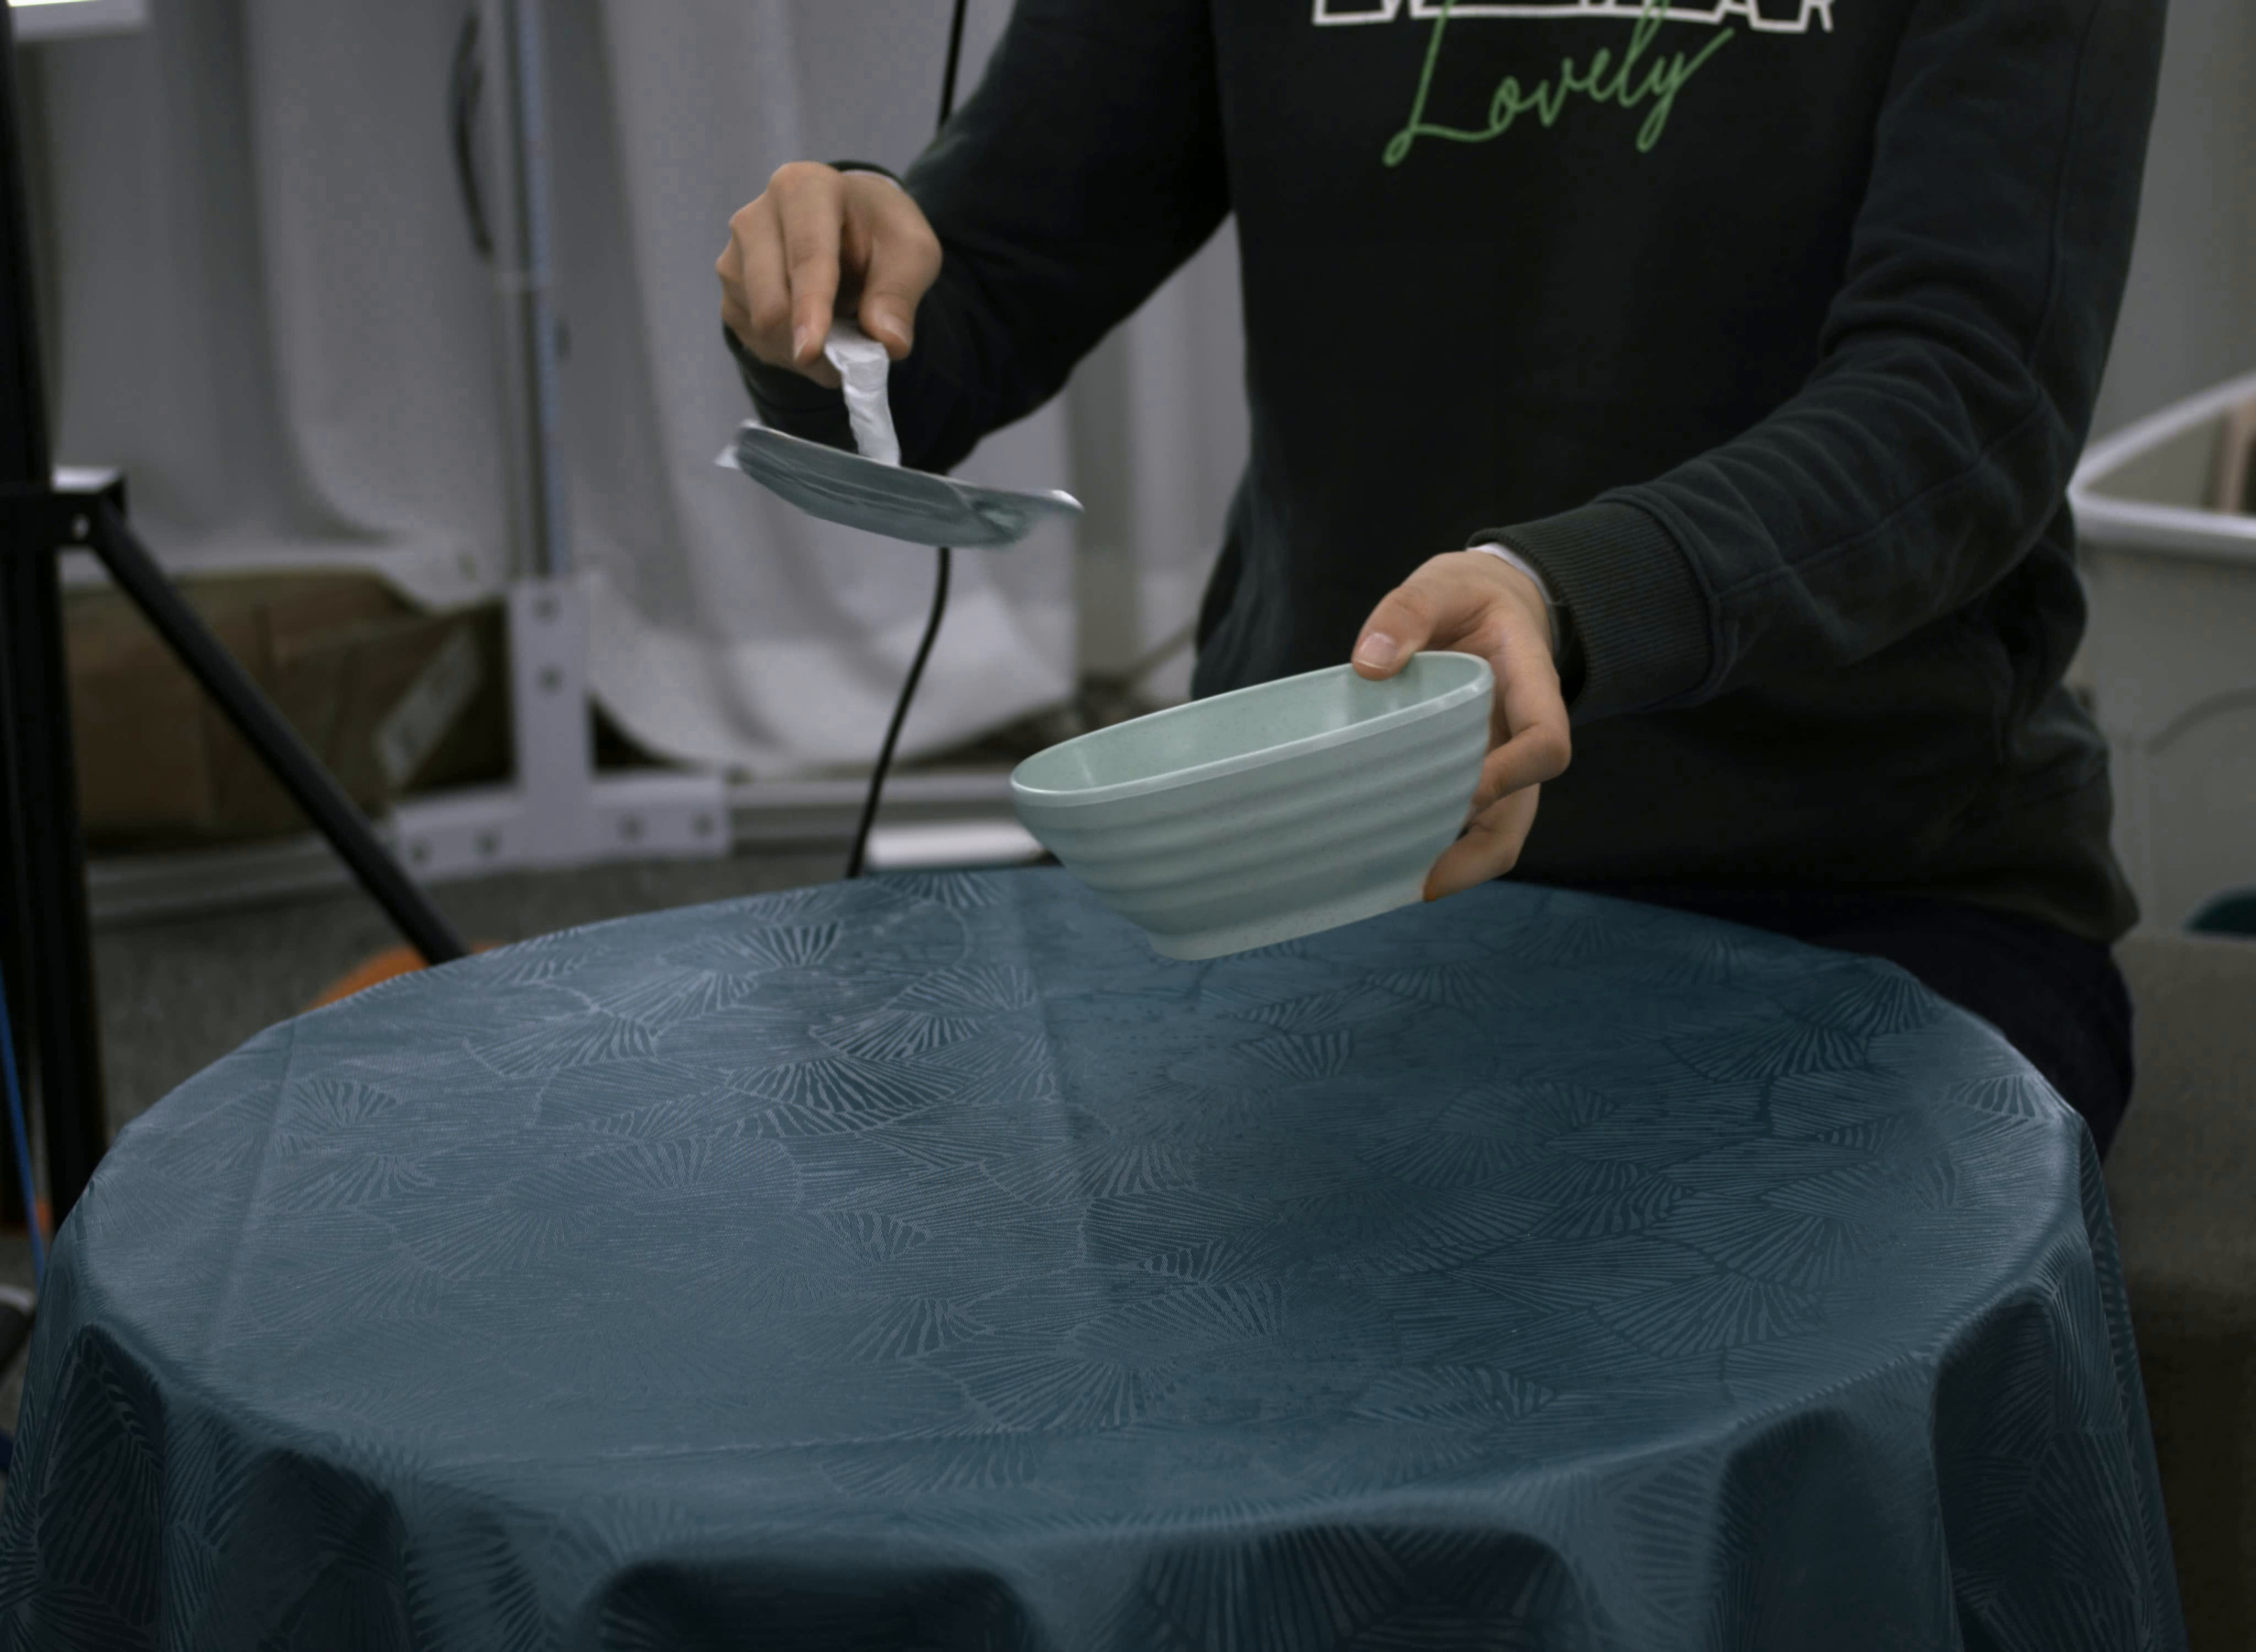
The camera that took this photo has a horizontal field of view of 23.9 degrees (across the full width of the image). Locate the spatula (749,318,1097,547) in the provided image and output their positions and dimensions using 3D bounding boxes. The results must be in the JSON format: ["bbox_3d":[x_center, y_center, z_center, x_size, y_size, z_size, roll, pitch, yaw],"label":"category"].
[{"bbox_3d":[-0.073,-0.132,1.632,0.097,0.045,0.368,12,16,-8],"label":"spatula"}]

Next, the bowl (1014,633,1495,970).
[{"bbox_3d":[0.042,-0.003,1.501,0.151,0.058,0.152,-16,12,2],"label":"bowl"}]
